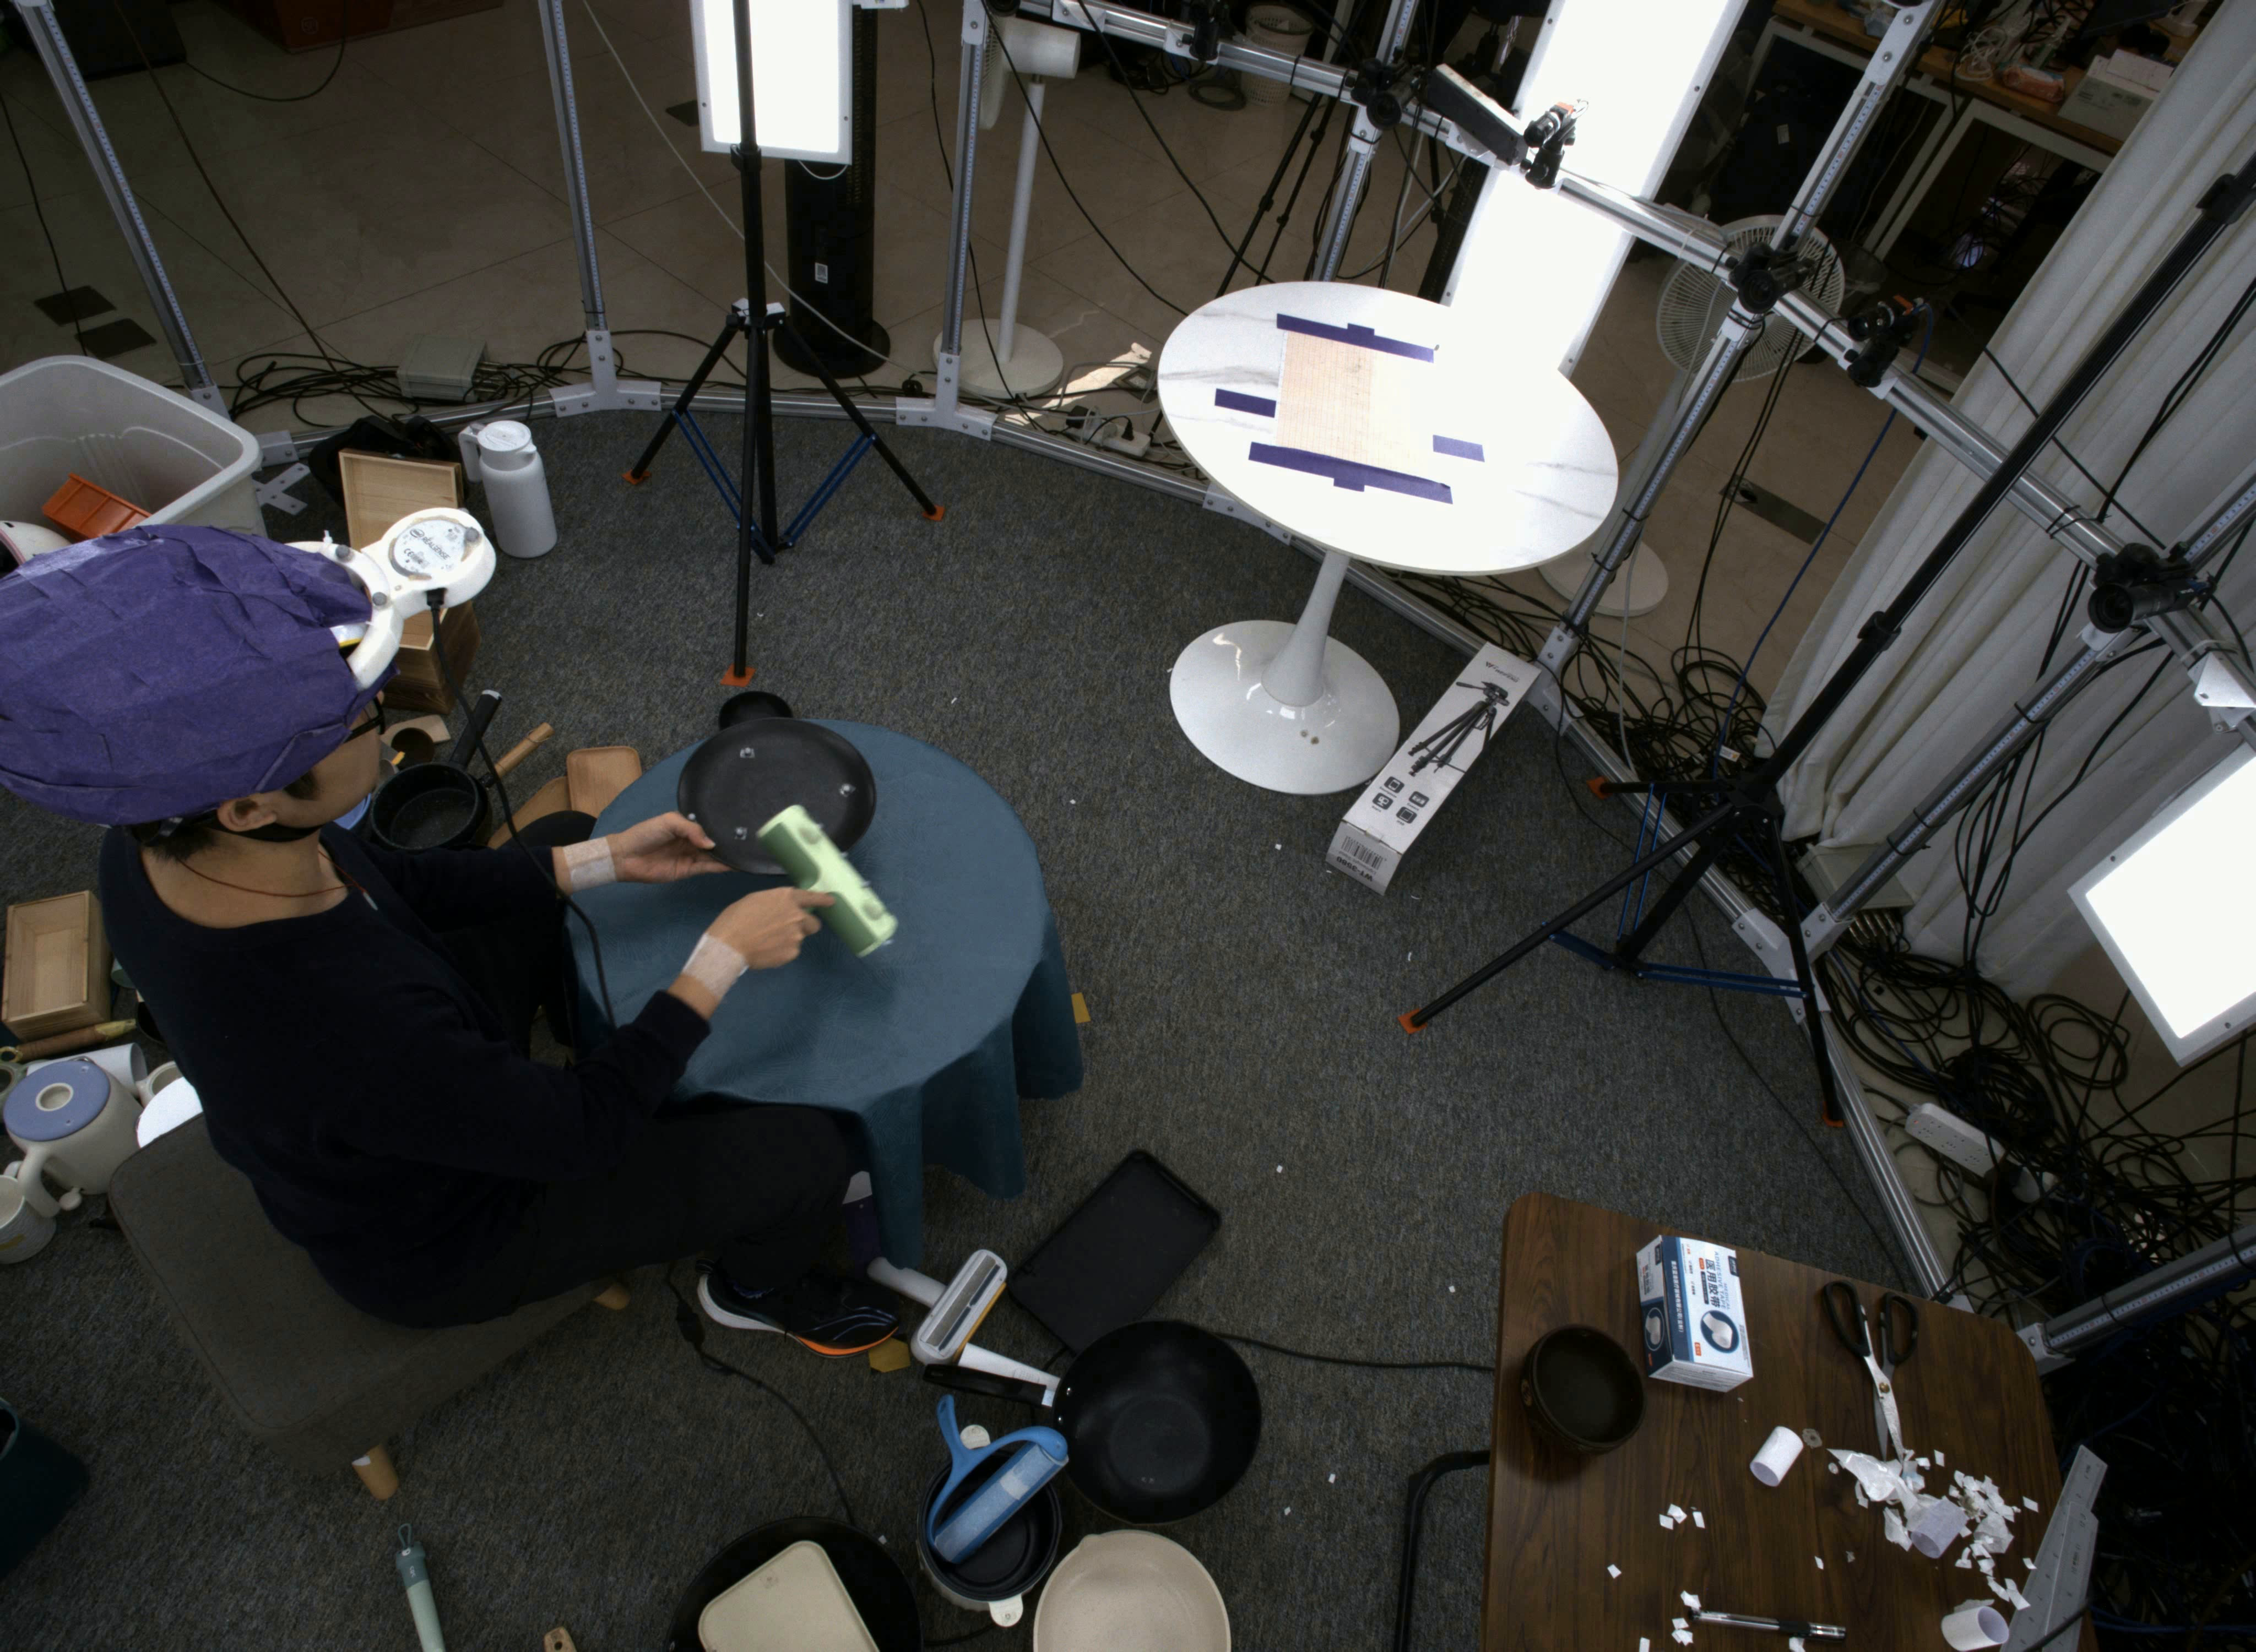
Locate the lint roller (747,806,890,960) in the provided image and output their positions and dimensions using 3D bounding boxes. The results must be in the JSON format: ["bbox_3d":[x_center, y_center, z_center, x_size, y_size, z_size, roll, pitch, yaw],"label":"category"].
[{"bbox_3d":[-0.368,0.080,1.478,0.202,0.081,0.182,51,22,-11],"label":"lint roller"}]

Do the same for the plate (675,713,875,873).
[{"bbox_3d":[-0.437,-0.040,1.607,0.244,0.024,0.240,9,54,-10],"label":"plate"}]
